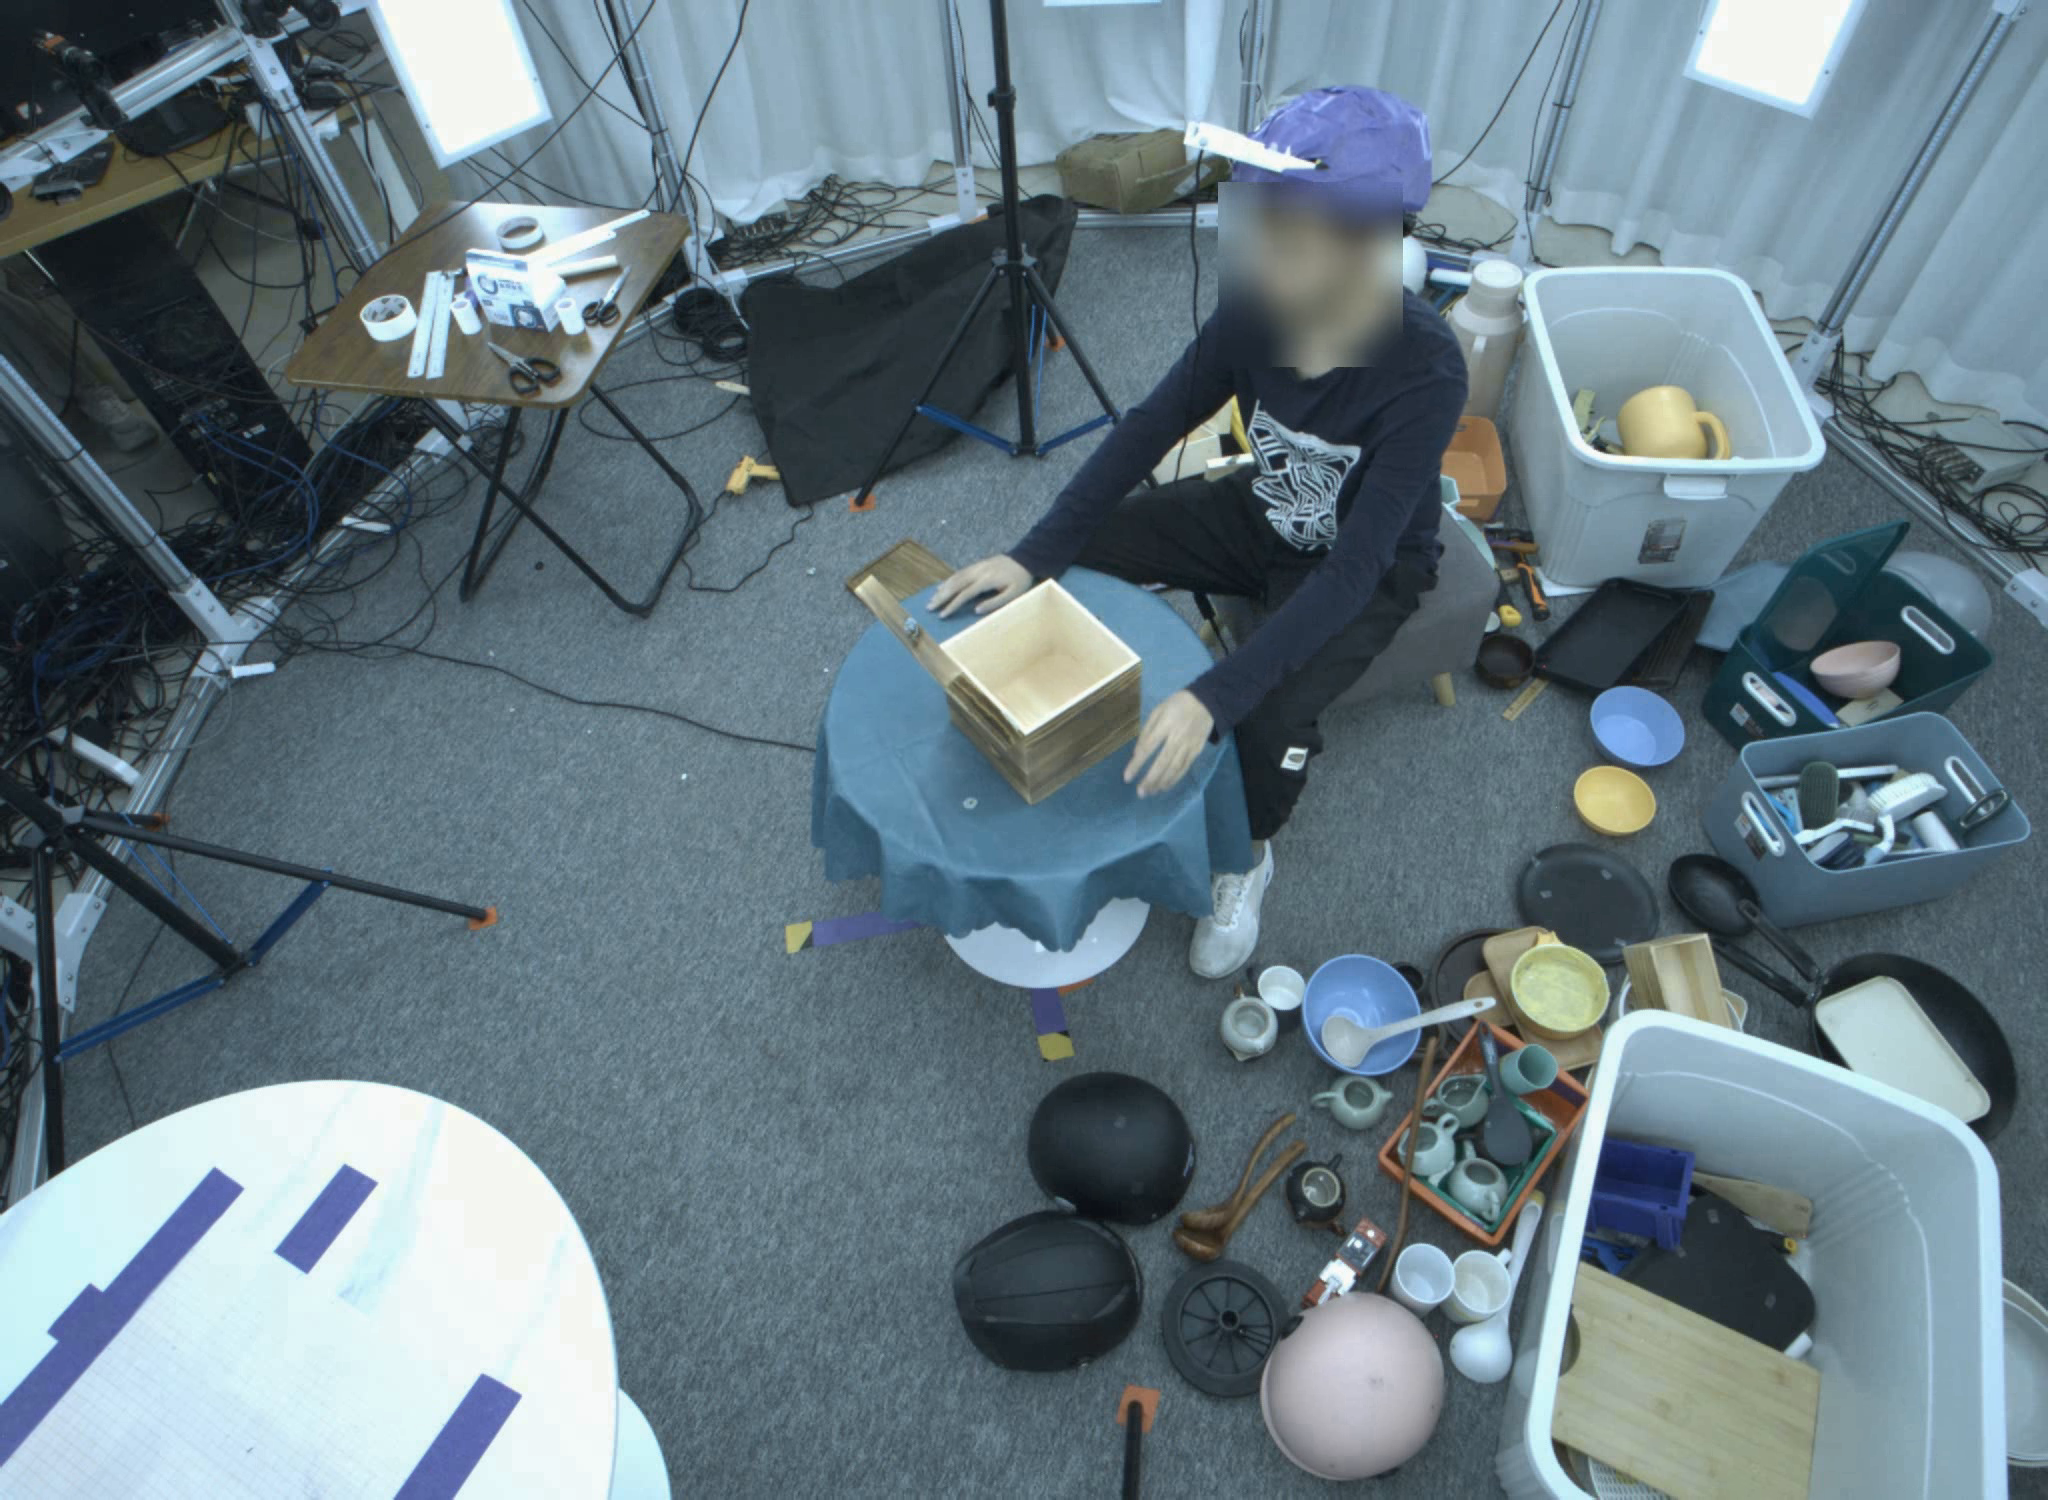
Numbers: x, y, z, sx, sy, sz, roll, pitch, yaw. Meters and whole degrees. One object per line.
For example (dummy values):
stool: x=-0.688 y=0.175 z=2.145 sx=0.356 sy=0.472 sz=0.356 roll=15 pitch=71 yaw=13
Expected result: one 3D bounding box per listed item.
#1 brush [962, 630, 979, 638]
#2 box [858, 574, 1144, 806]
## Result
brush: x=-0.060 y=-0.156 z=1.856 sx=0.145 sy=0.056 sz=0.082 roll=-24 pitch=60 yaw=-12
box: x=-0.021 y=-0.112 z=1.637 sx=0.324 sy=0.379 sz=0.205 roll=-34 pitch=59 yaw=-19
